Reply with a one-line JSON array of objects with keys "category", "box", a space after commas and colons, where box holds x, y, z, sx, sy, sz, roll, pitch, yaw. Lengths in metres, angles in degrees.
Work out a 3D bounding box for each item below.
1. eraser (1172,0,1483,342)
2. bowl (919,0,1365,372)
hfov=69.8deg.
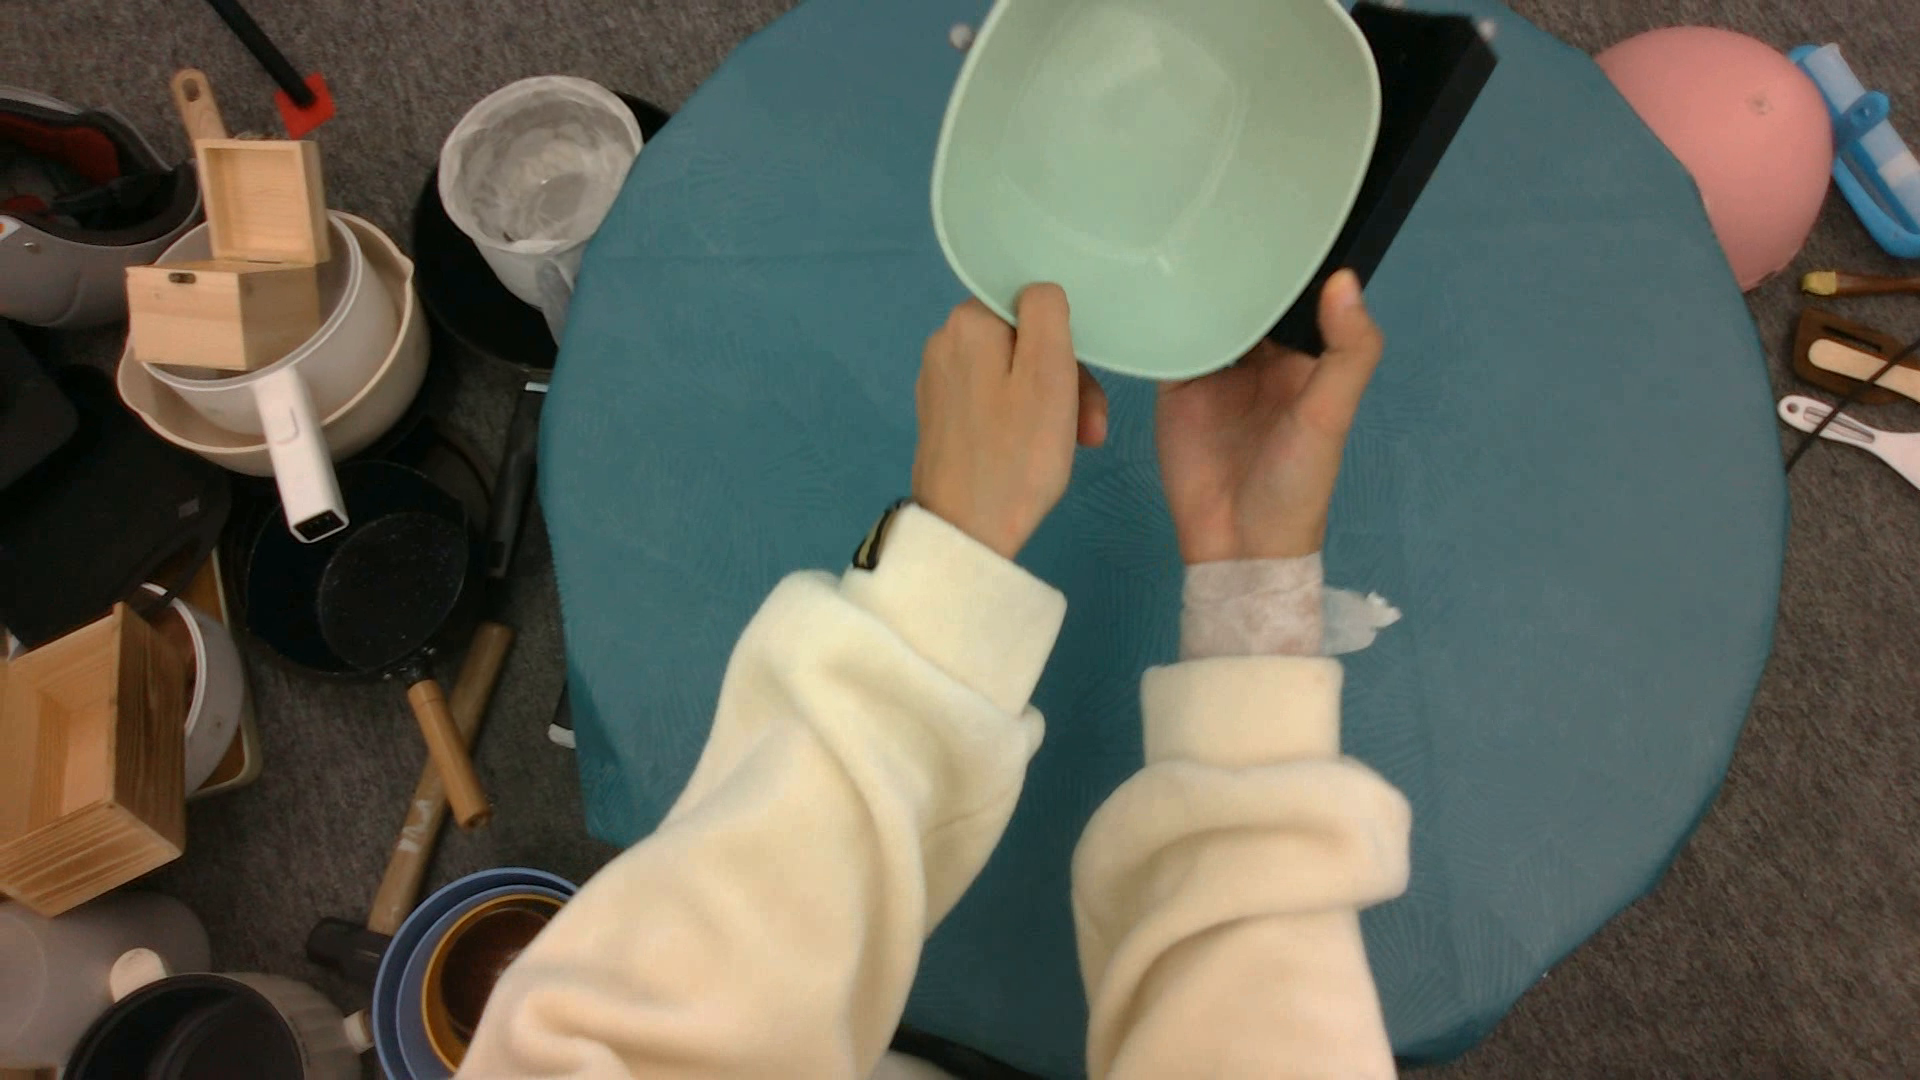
[{"category": "eraser", "box": [0.131, -0.137, 0.496, 0.053, 0.030, 0.125, 37, 99, 43]}, {"category": "bowl", "box": [0.057, -0.137, 0.475, 0.151, 0.059, 0.151, -3, 115, -6]}]
